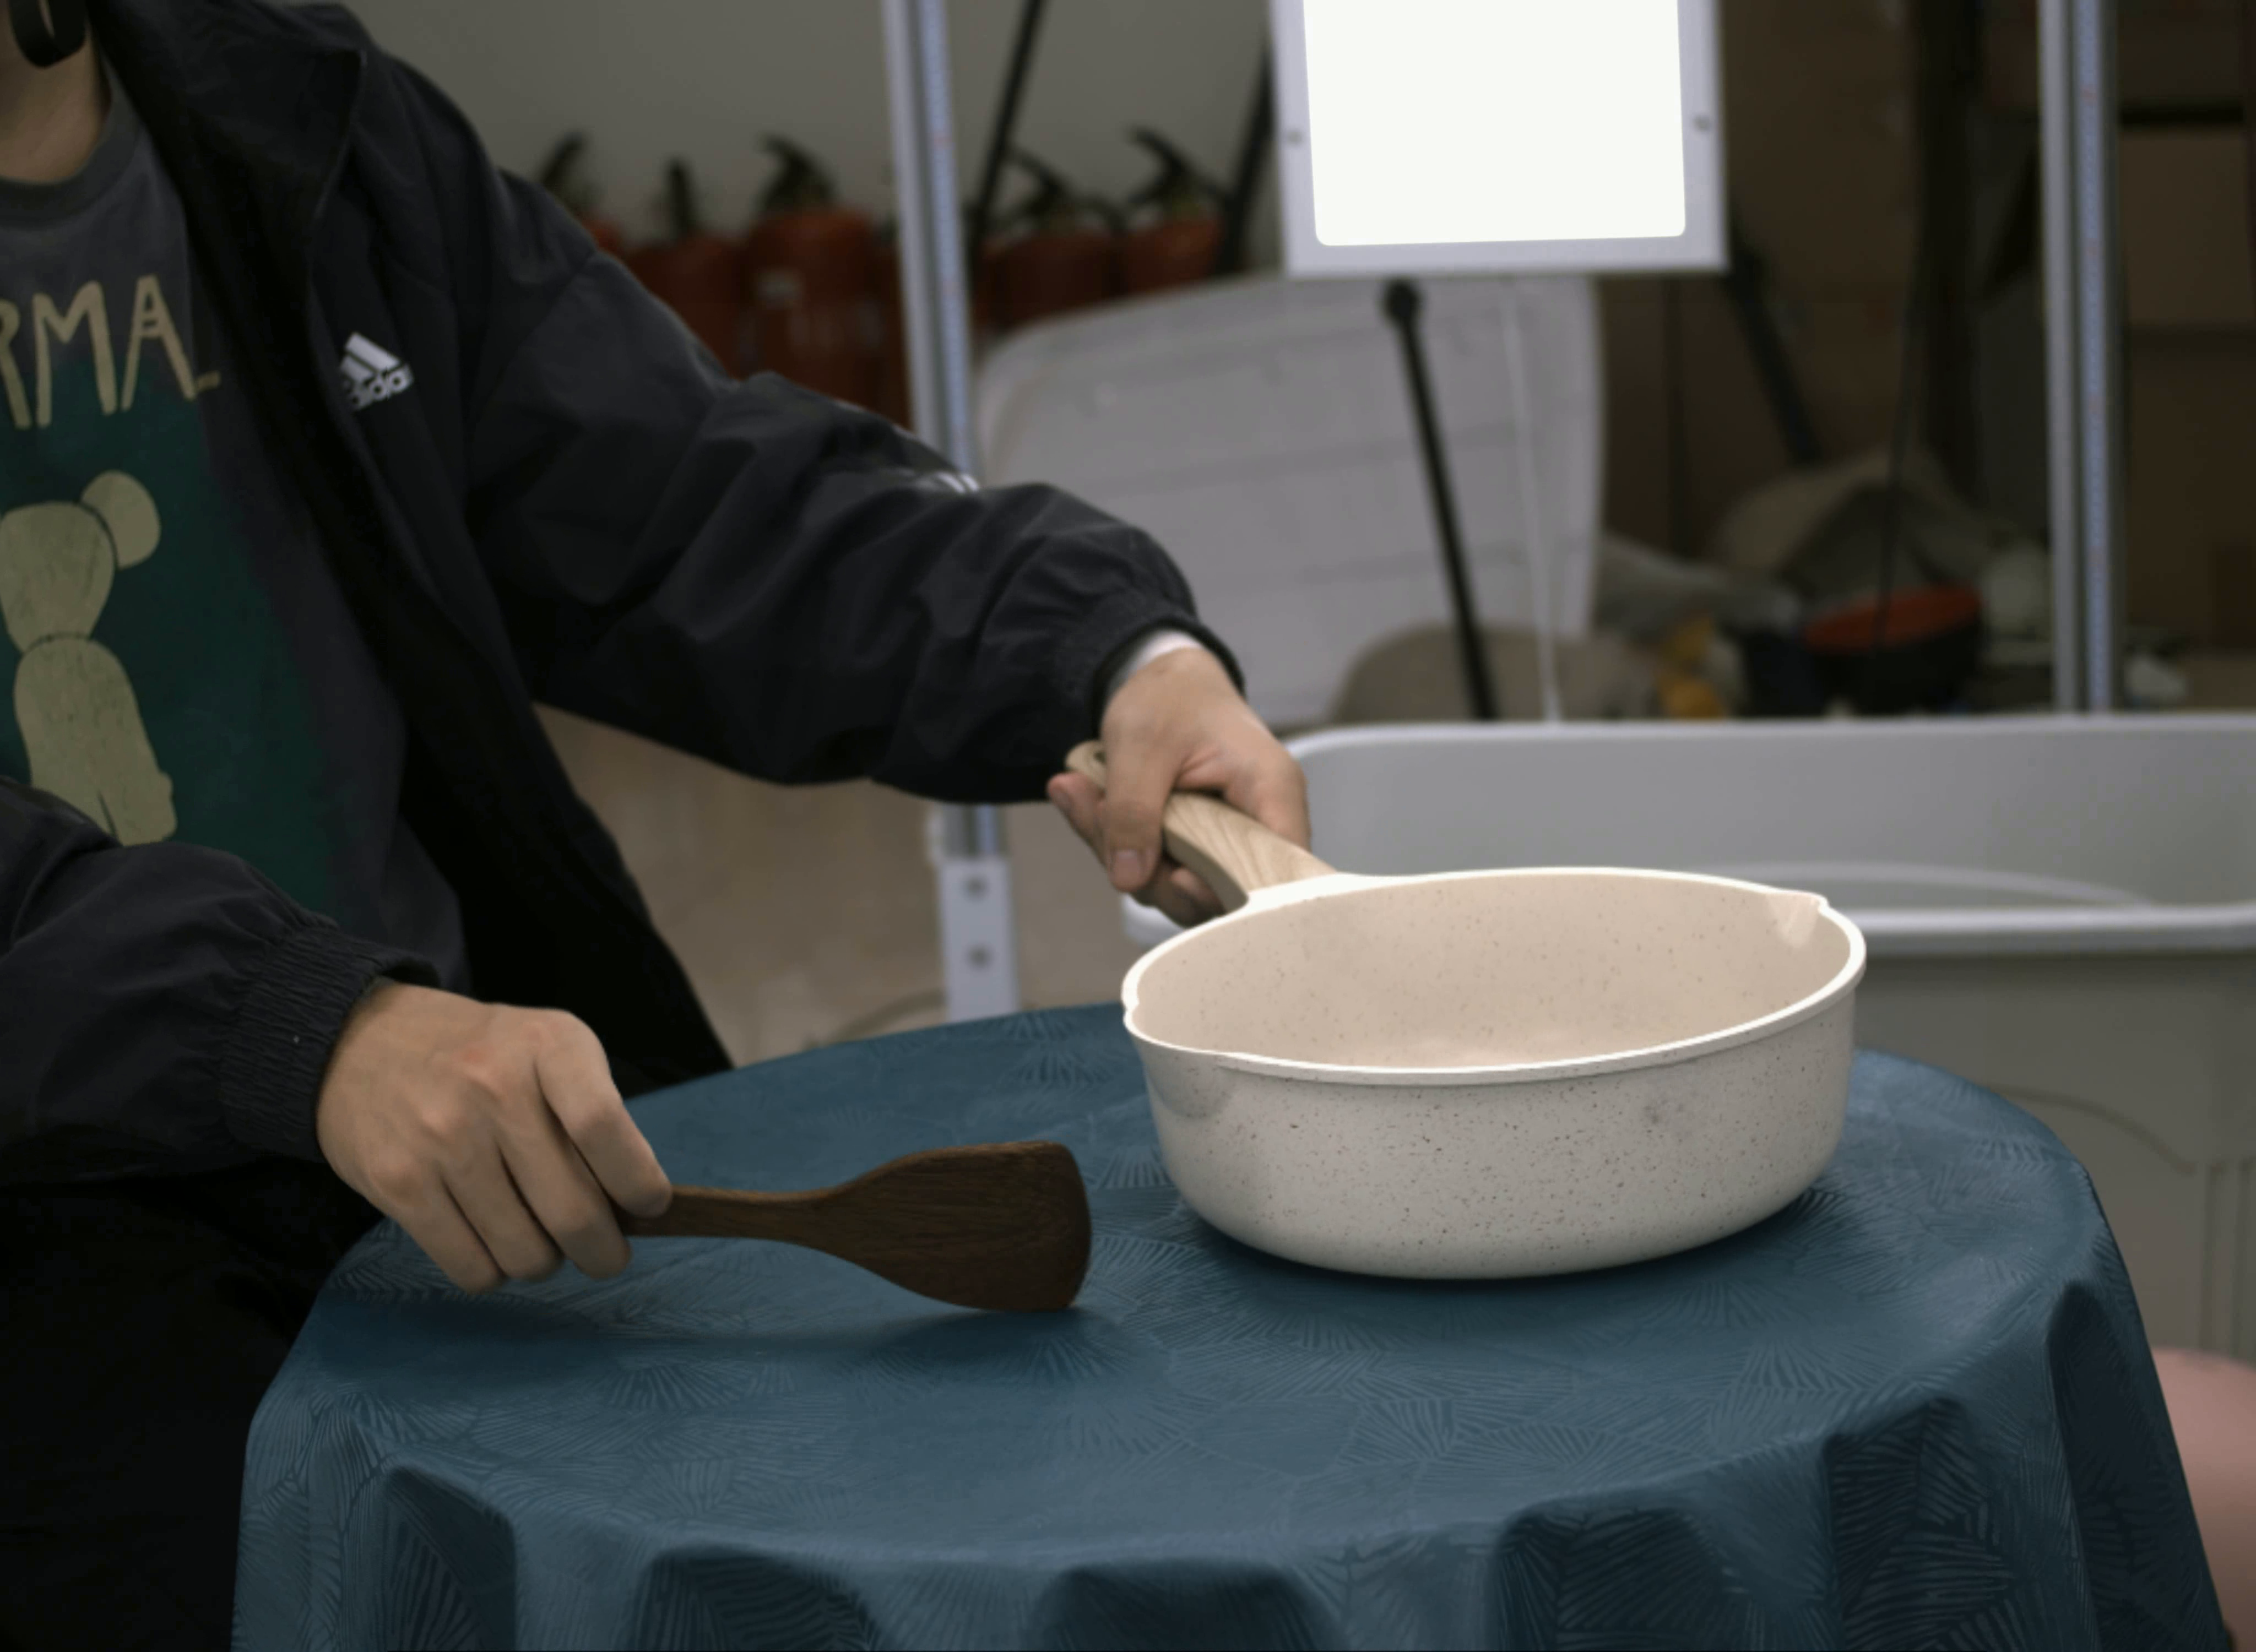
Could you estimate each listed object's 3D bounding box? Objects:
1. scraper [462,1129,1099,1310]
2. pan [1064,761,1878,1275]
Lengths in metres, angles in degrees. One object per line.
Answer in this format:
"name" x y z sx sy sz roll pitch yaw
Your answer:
"scraper" -0.114 0.128 1.784 0.213 0.076 0.011 0 40 14
"pan" 0.089 0.060 1.932 0.258 0.102 0.442 -13 15 -23
